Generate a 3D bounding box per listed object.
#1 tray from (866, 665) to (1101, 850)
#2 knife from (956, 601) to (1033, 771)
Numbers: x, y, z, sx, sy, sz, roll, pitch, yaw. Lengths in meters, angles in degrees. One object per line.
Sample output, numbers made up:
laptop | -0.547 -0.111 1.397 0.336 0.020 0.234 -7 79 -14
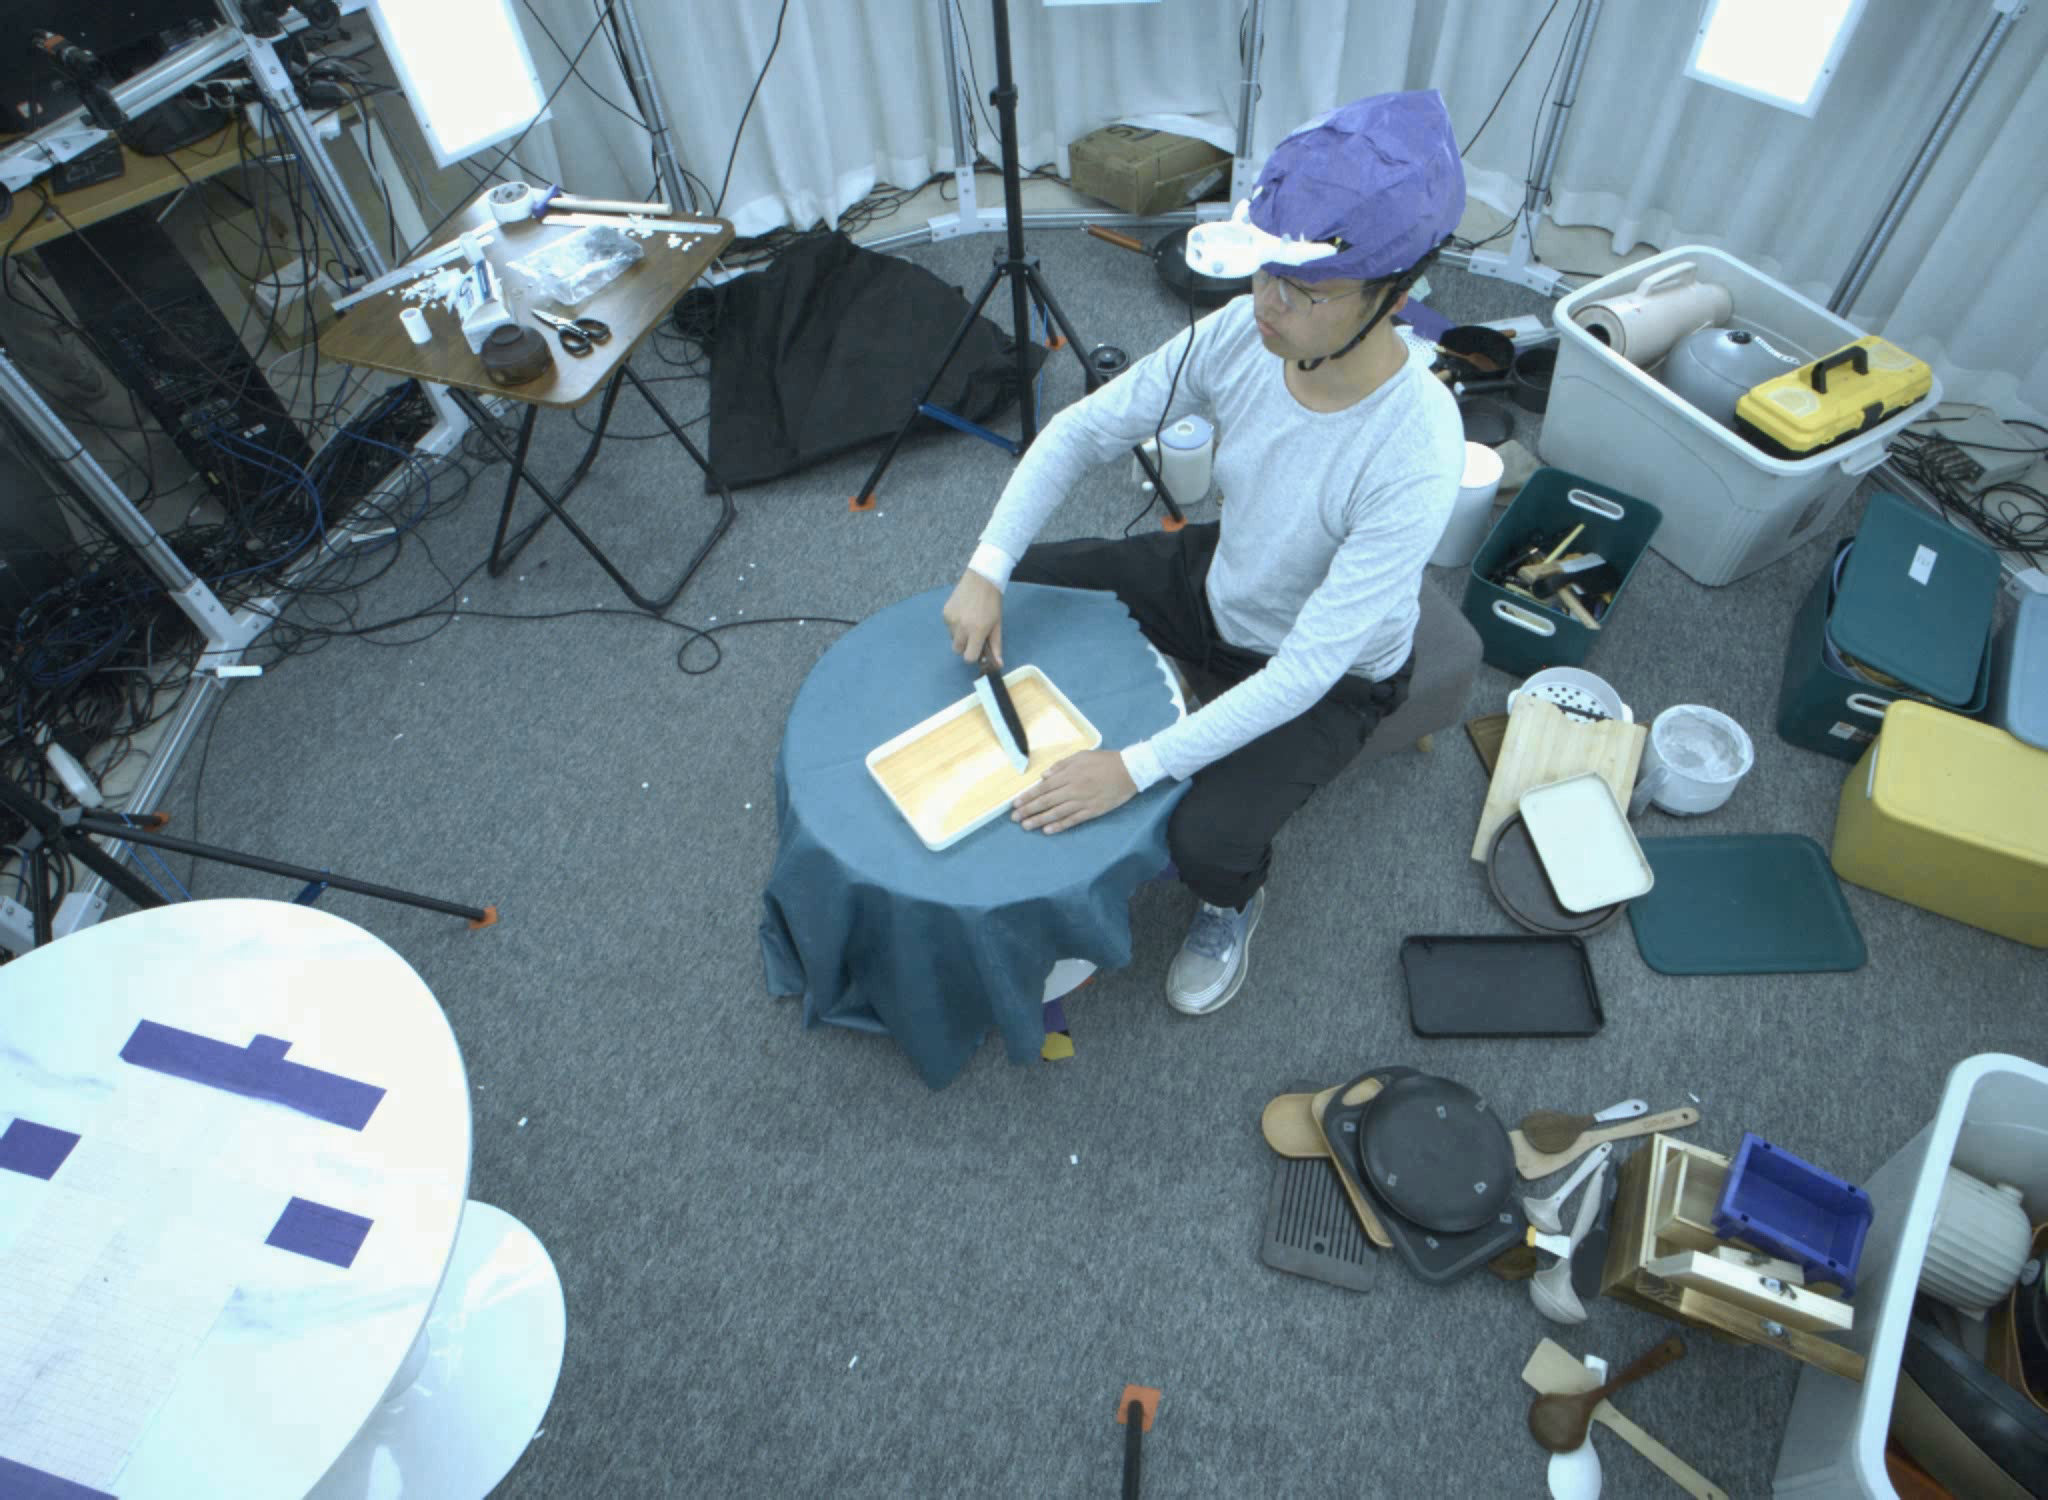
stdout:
tray | -0.057 0.006 1.776 0.303 0.028 0.188 -30 59 -19
knife | -0.045 -0.096 1.810 0.050 0.020 0.286 -29 70 21
